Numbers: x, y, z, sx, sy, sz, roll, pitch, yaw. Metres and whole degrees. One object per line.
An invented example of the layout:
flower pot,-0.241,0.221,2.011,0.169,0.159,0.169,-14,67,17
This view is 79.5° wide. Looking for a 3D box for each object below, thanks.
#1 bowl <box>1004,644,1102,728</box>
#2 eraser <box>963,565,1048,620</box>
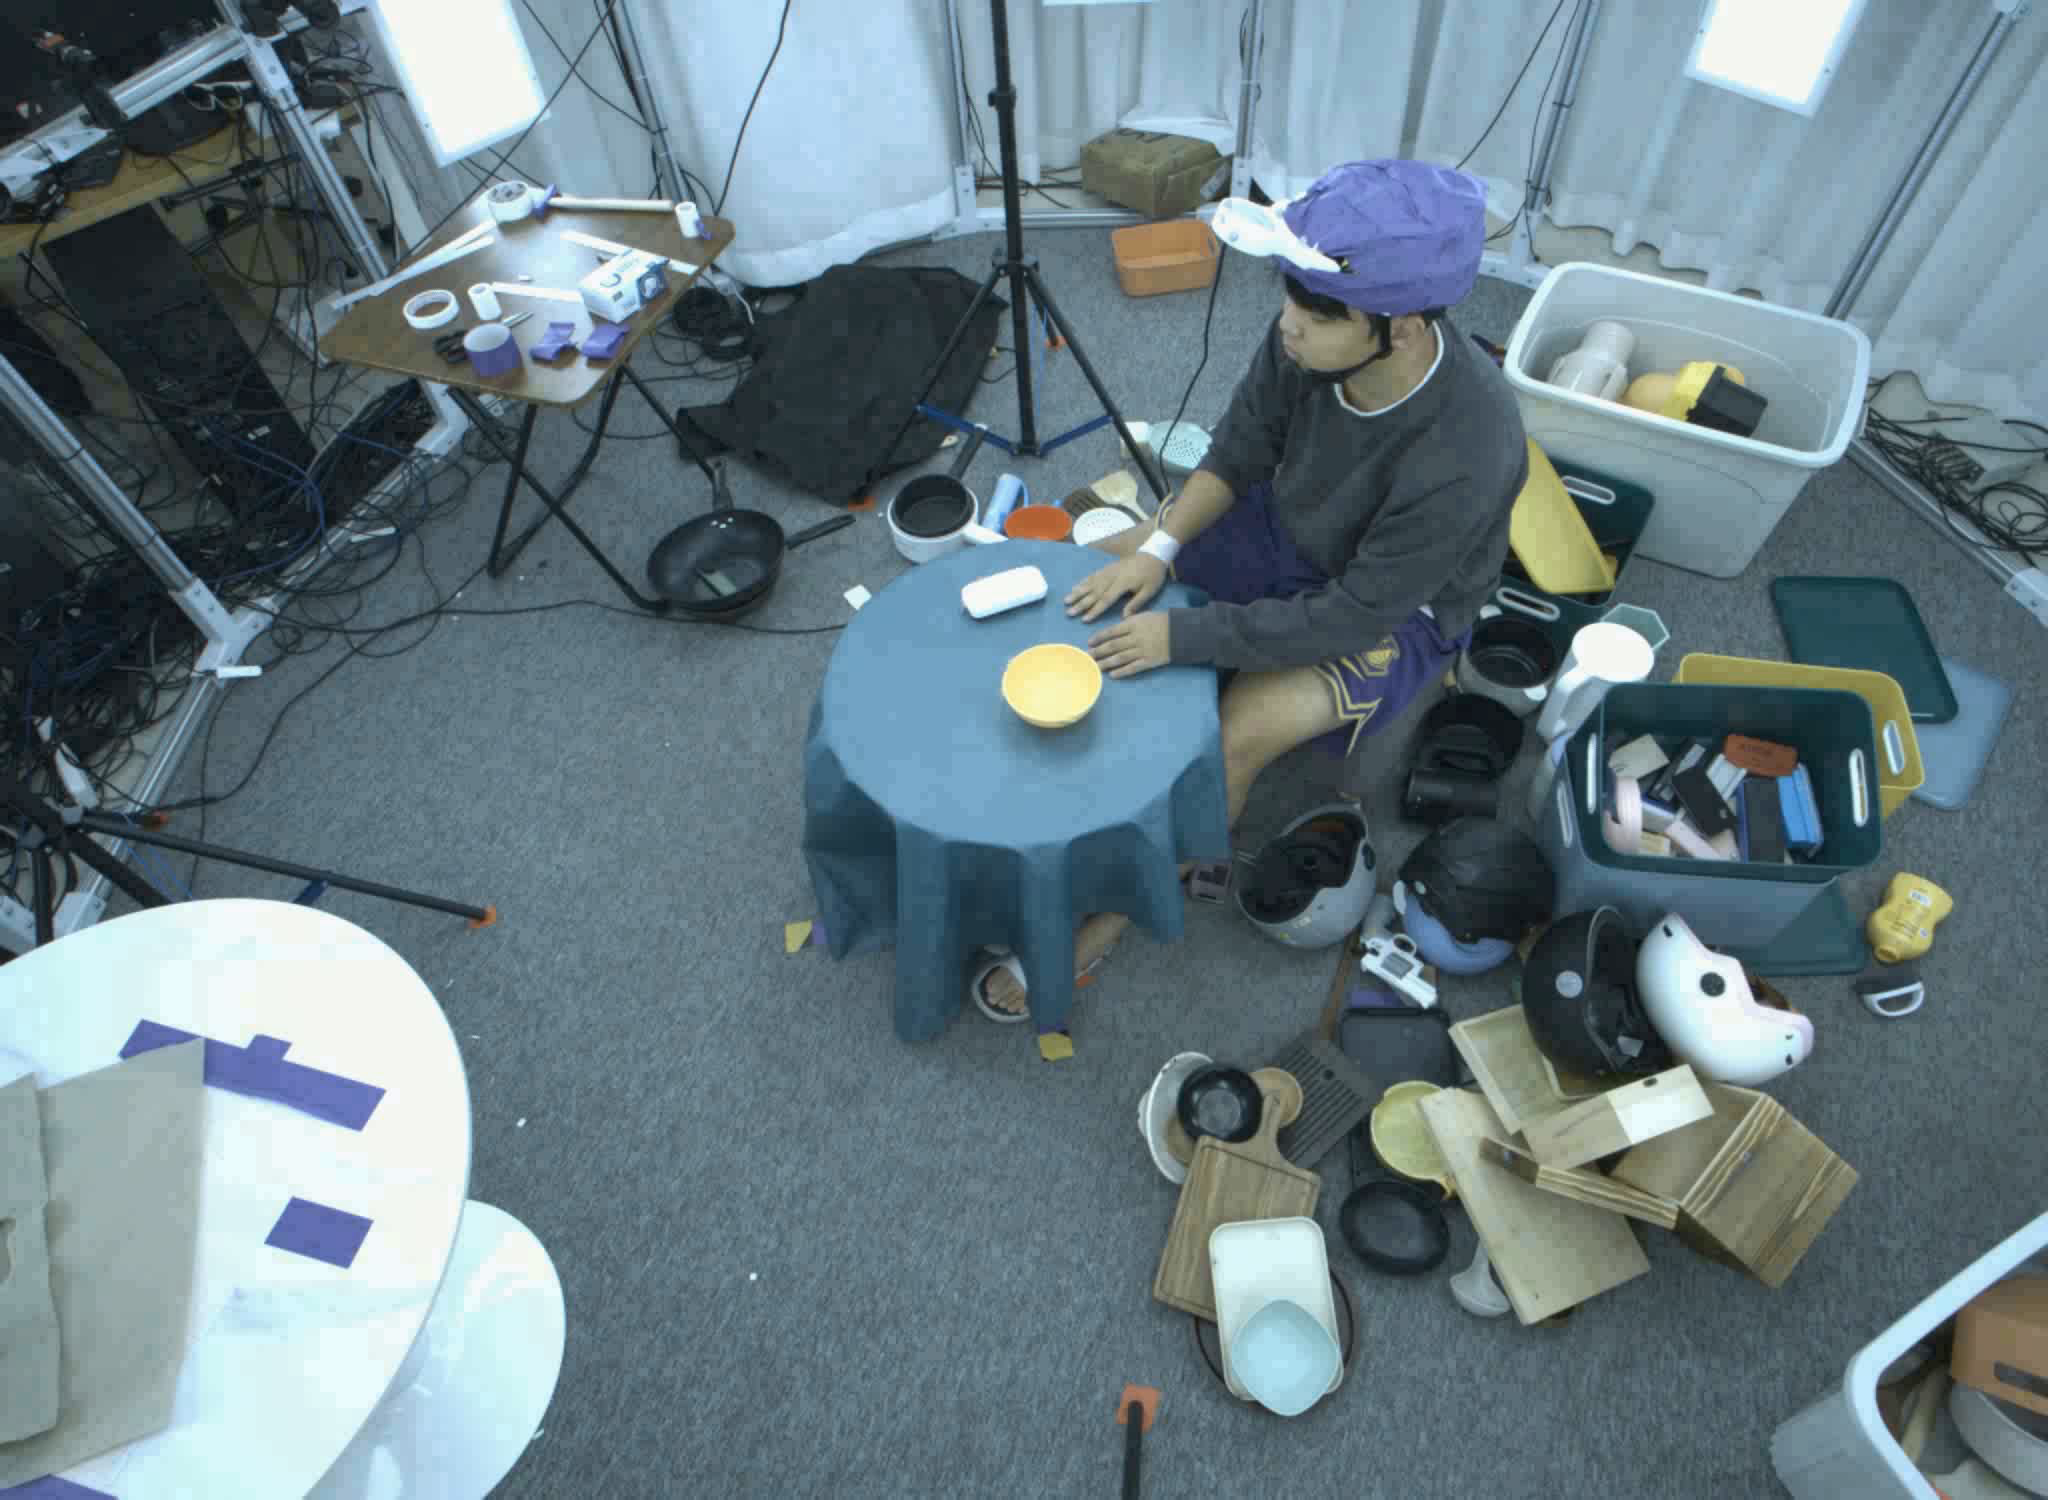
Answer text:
bowl,0.042,-0.083,1.814,0.145,0.060,0.144,1,54,0
eraser,-0.030,-0.250,1.949,0.132,0.035,0.062,-19,57,-10
